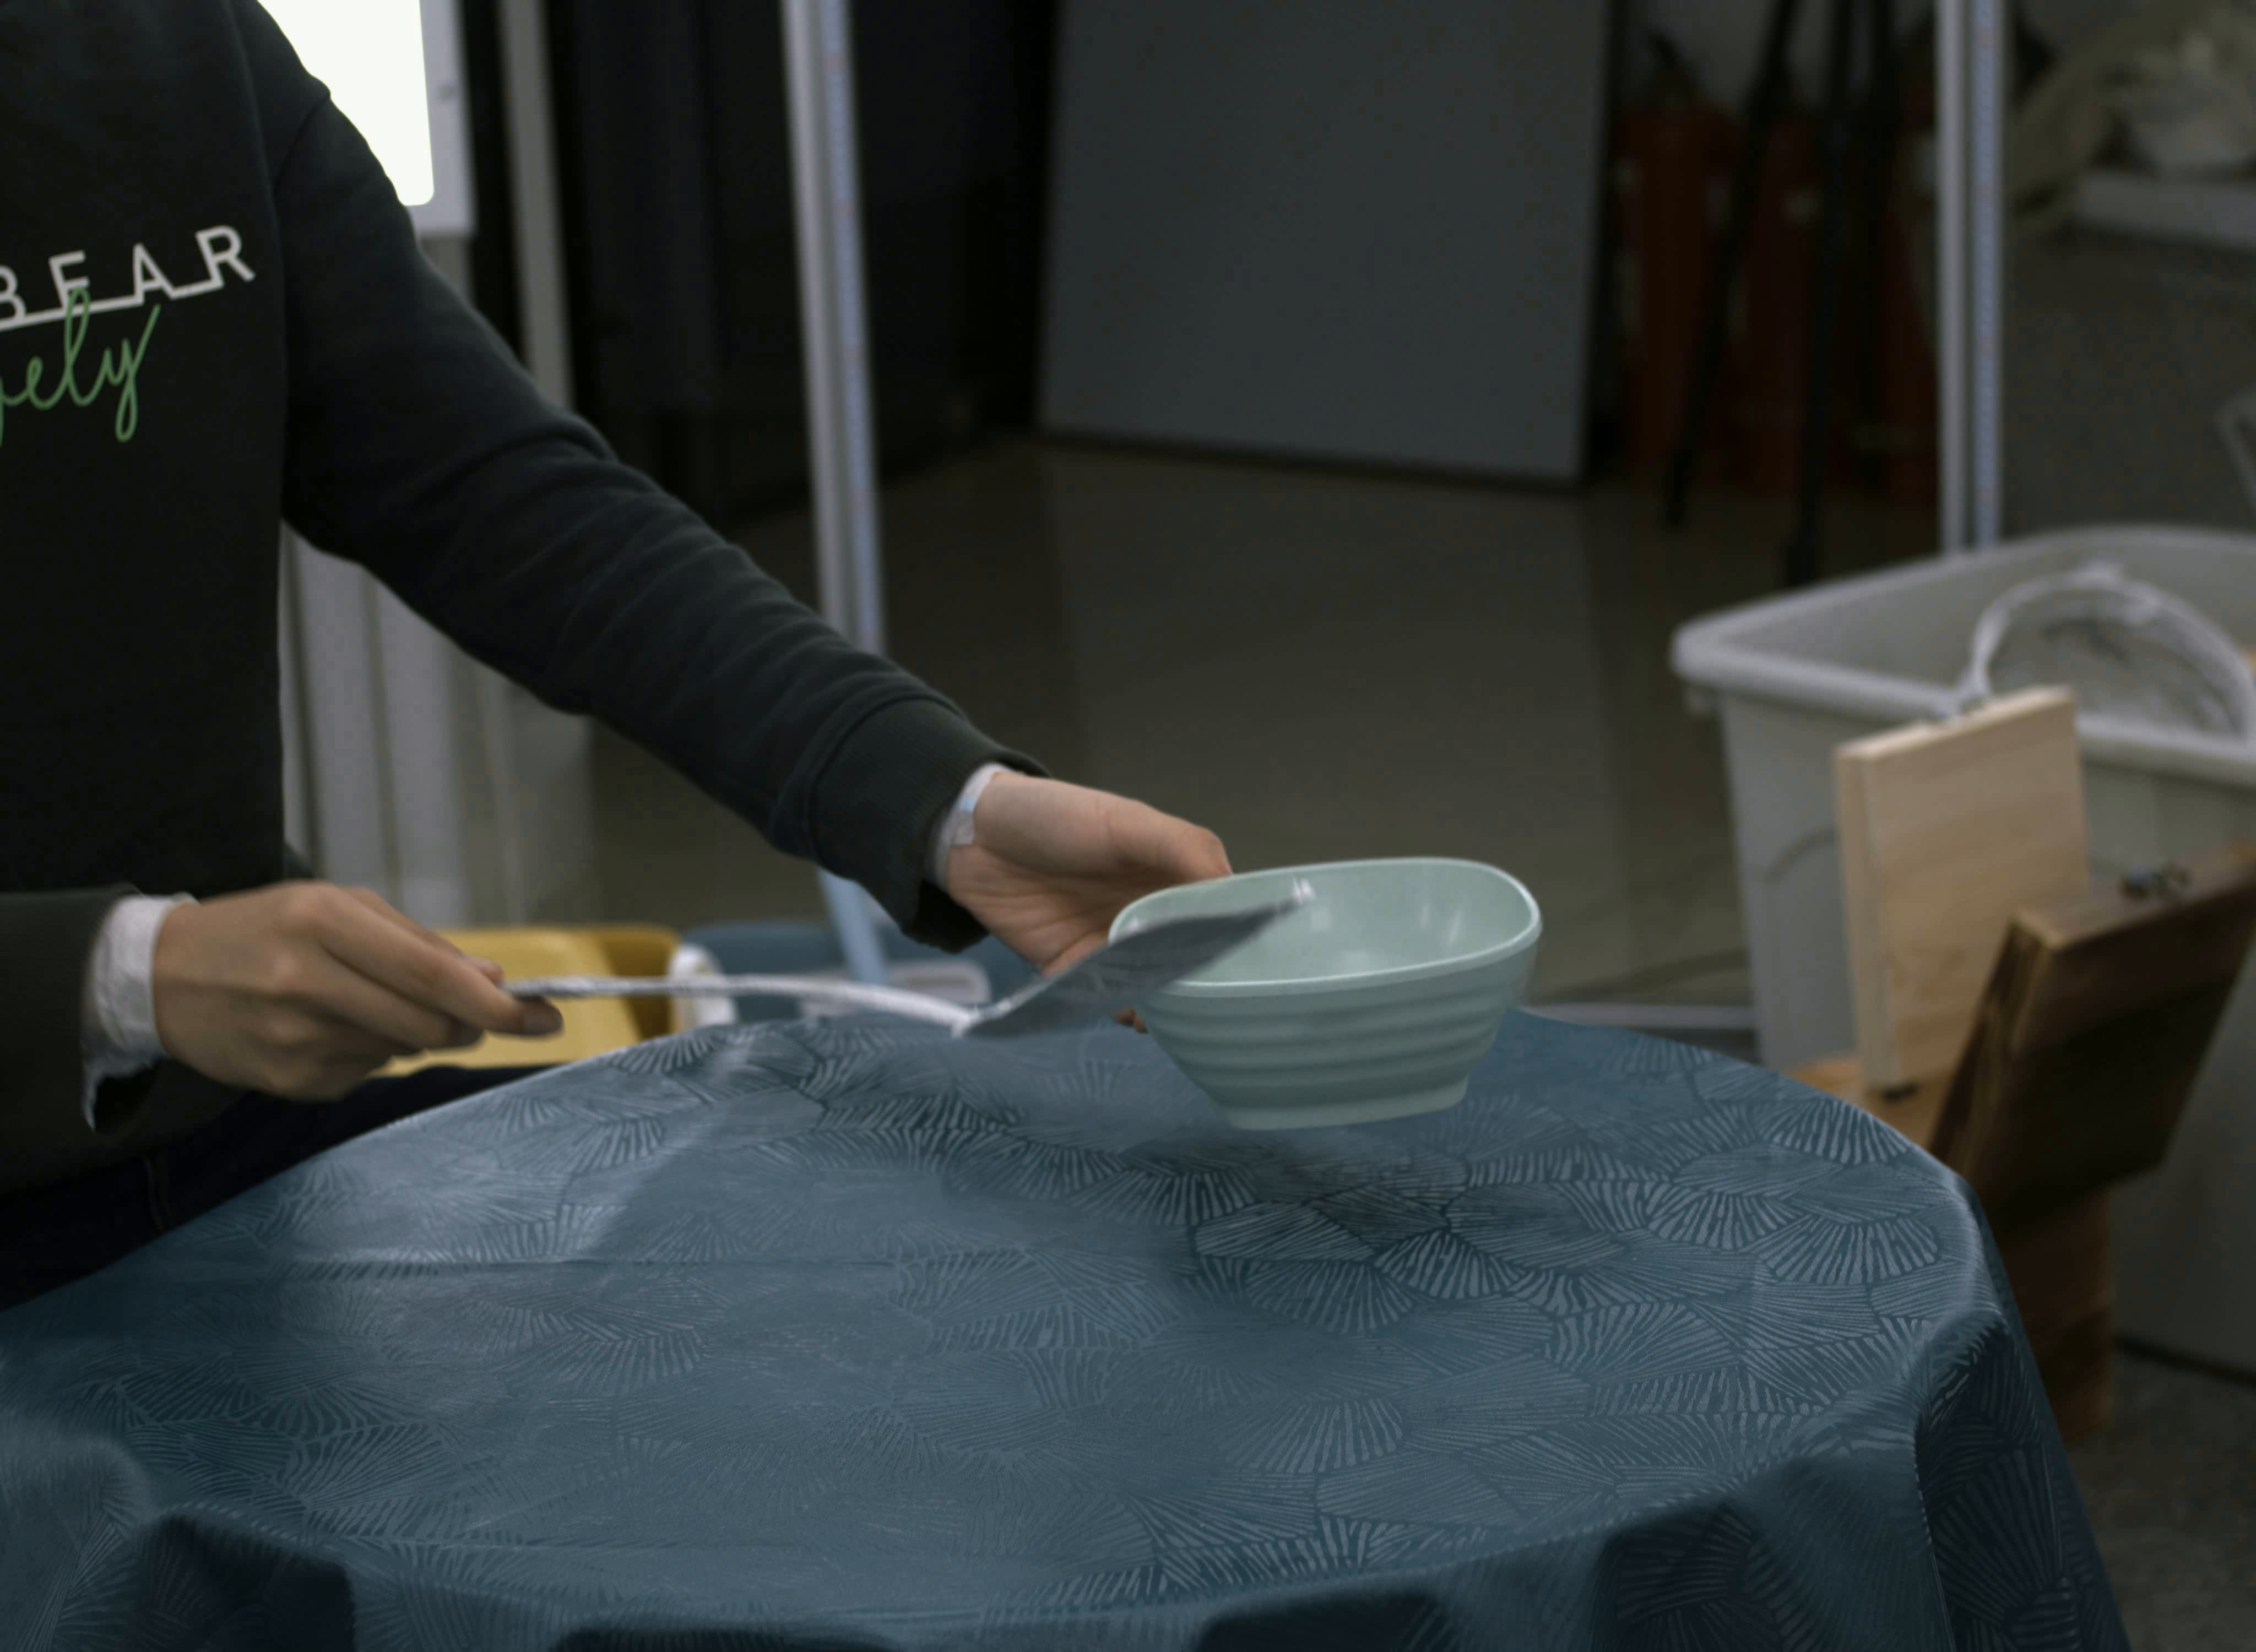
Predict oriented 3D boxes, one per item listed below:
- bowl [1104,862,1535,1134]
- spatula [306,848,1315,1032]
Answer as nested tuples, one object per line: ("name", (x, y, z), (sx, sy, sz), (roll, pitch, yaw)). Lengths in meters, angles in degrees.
("bowl", (0.063, 0.058, 1.731), (0.149, 0.059, 0.152), (-5, 14, 0))
("spatula", (-0.112, 0.038, 1.594), (0.366, 0.045, 0.097), (-2, 6, 33))
